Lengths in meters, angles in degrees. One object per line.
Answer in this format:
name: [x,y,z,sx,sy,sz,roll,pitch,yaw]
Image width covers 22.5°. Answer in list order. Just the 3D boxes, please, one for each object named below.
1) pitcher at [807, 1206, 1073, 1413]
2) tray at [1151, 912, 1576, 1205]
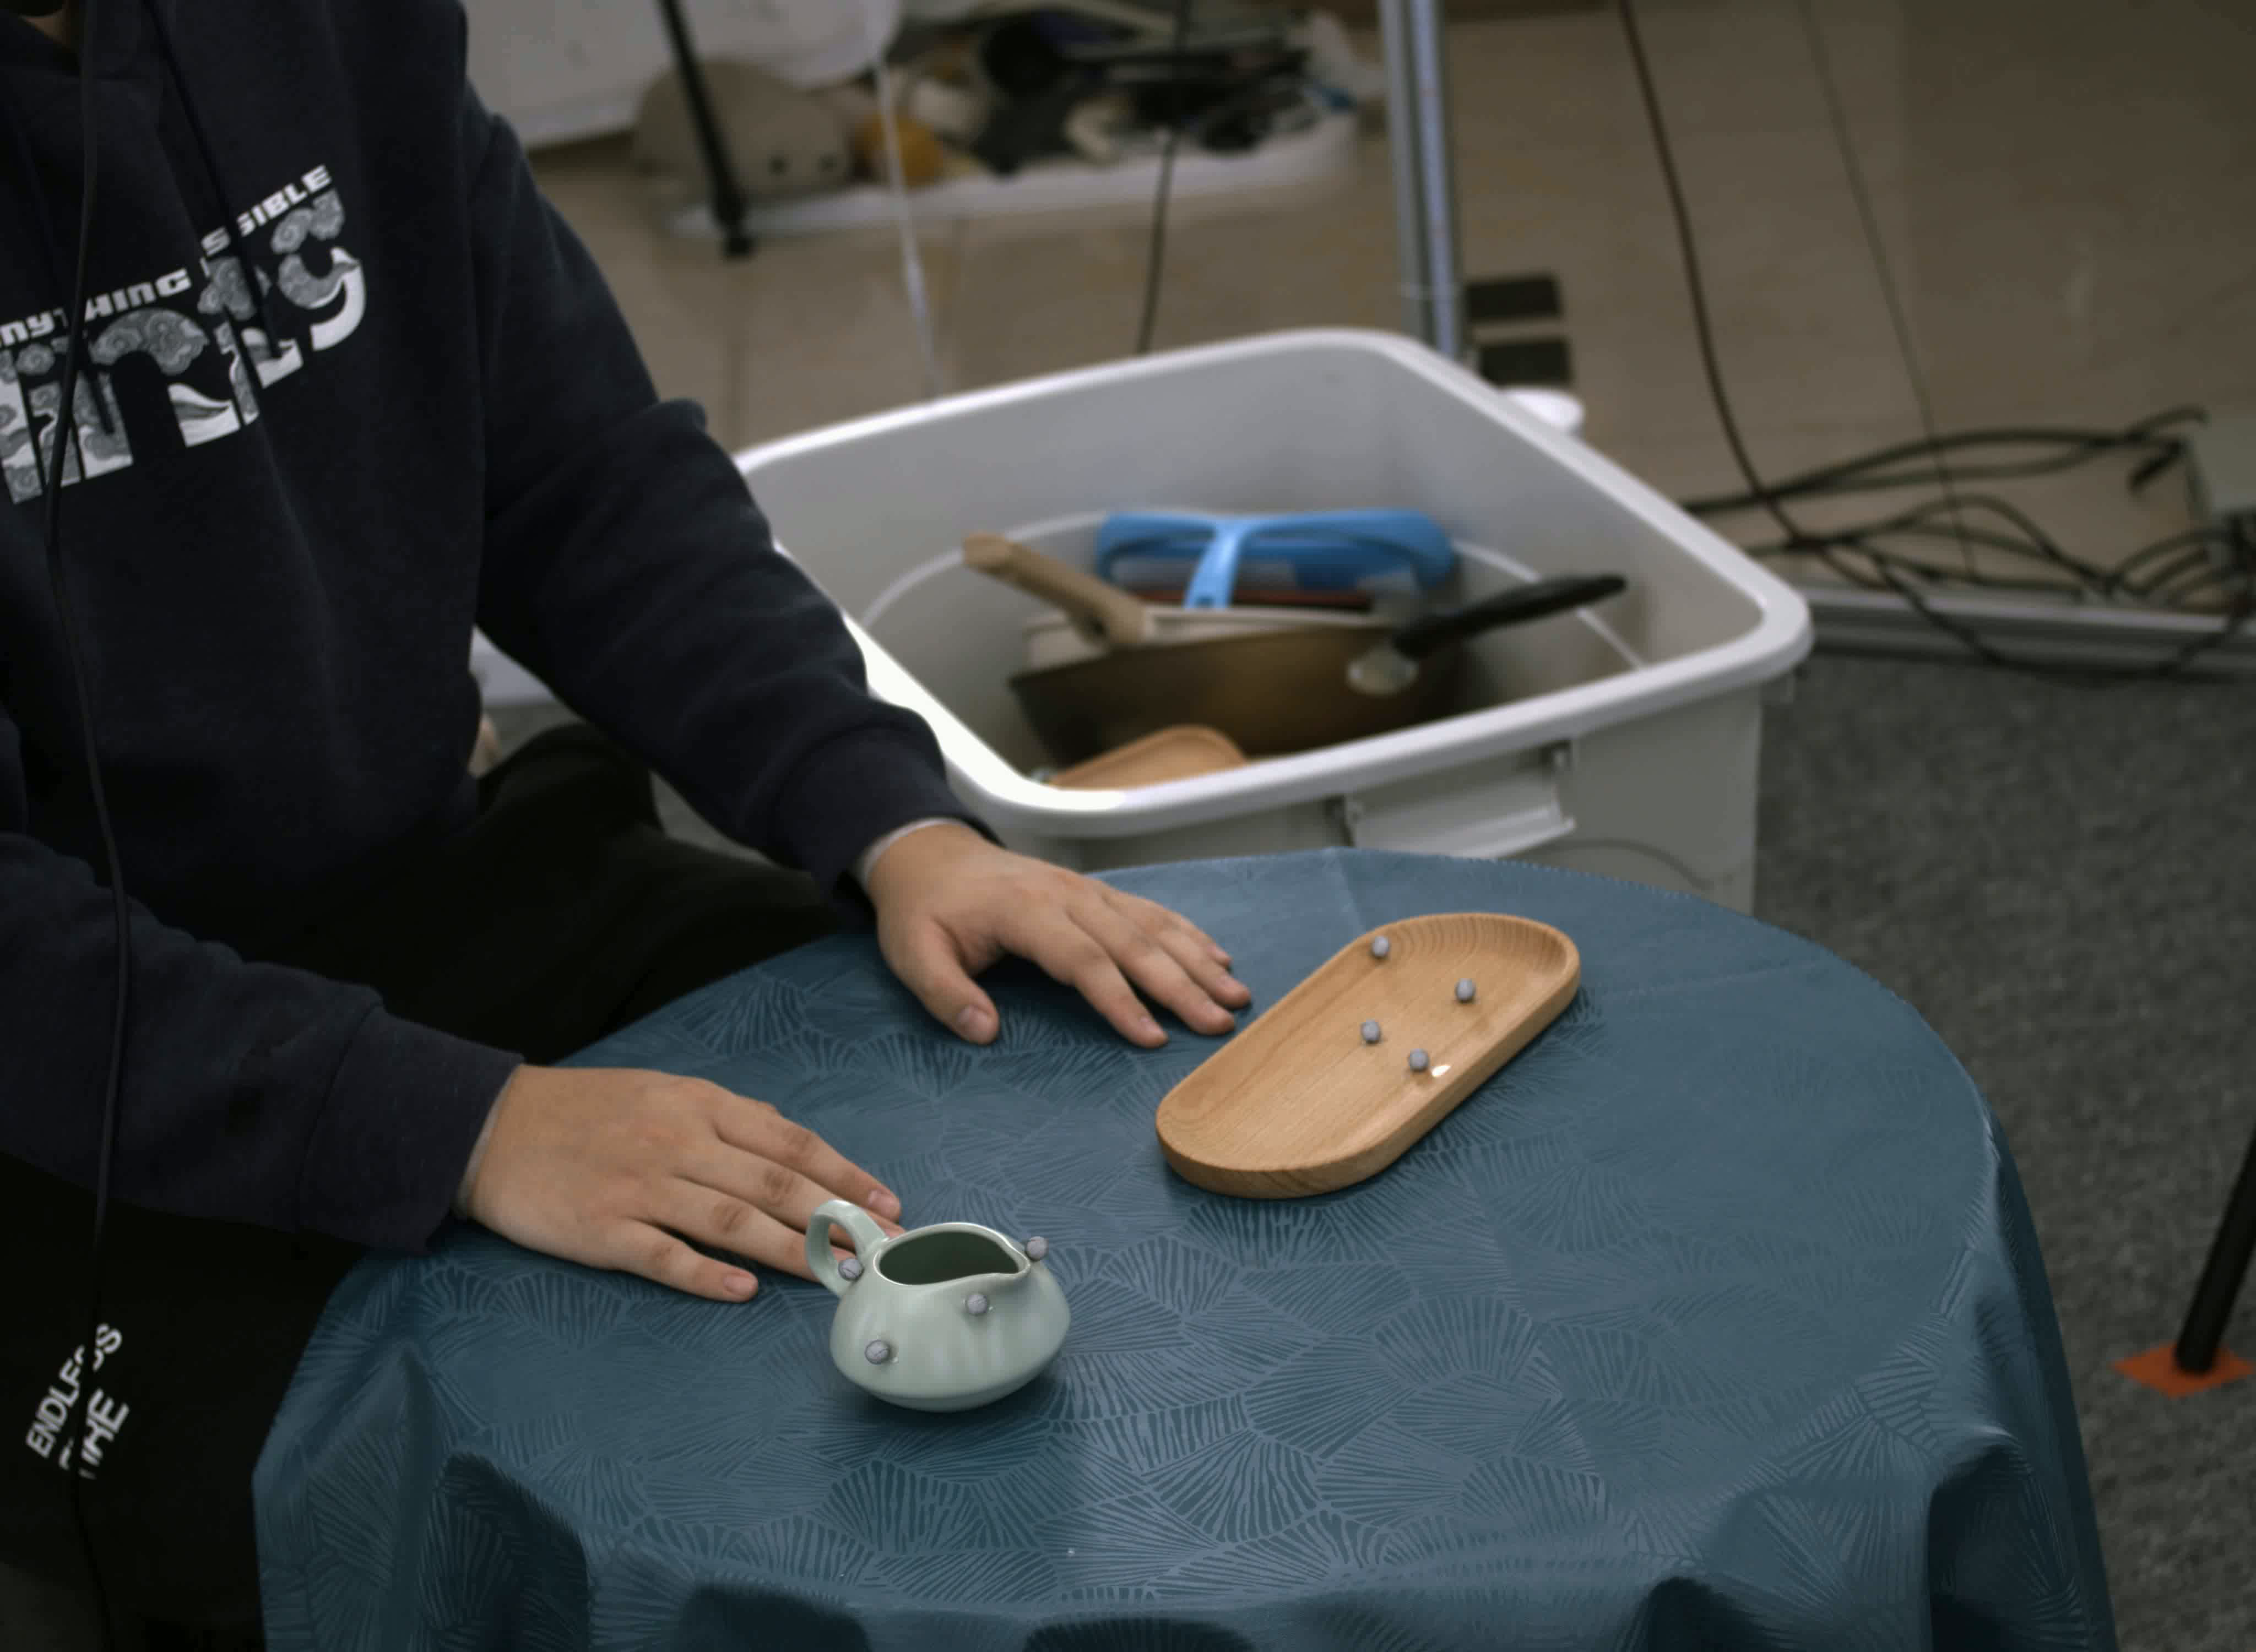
pitcher: [-0.073,0.171,2.029,0.107,0.061,0.085,11,29,37]
tray: [0.094,0.089,2.215,0.101,0.020,0.228,8,30,32]
